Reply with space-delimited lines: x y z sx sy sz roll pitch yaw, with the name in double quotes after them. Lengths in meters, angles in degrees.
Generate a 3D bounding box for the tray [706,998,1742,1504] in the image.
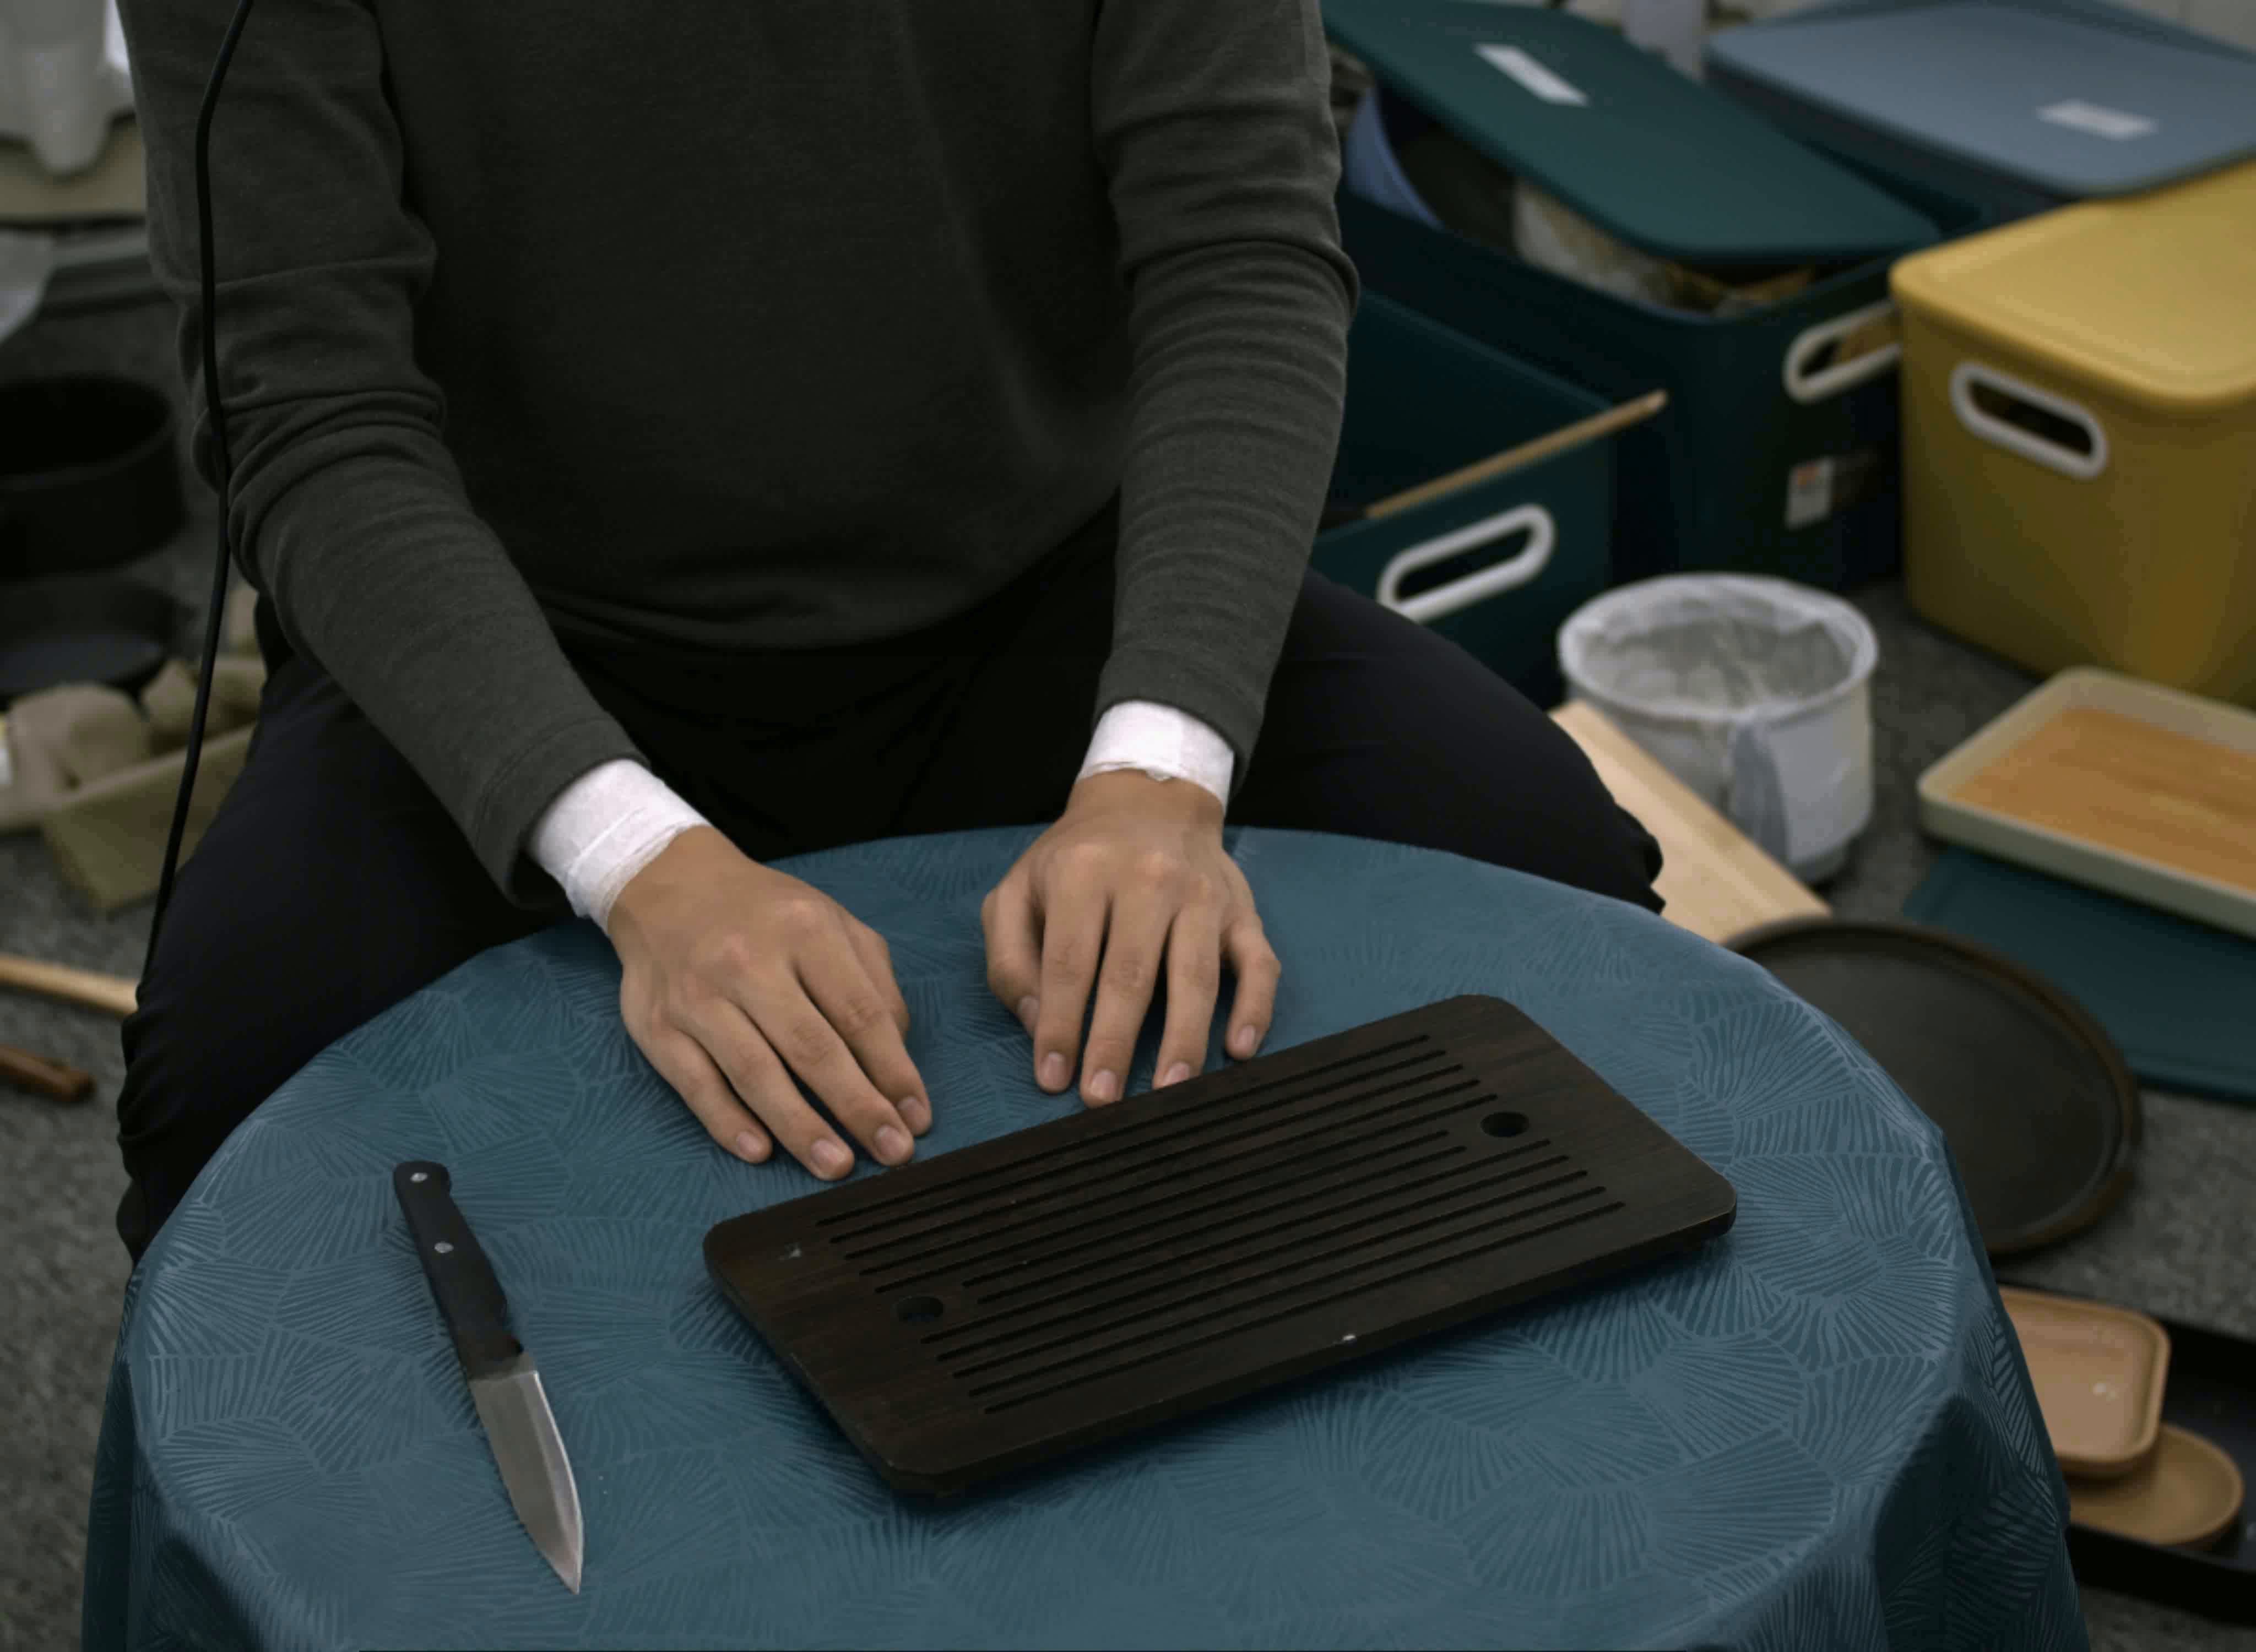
0.031 0.135 1.814 0.307 0.018 0.171 -16 29 -24 "tray"

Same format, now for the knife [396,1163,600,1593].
-0.199 0.174 1.767 0.024 0.016 0.240 -13 31 -14 "knife"
